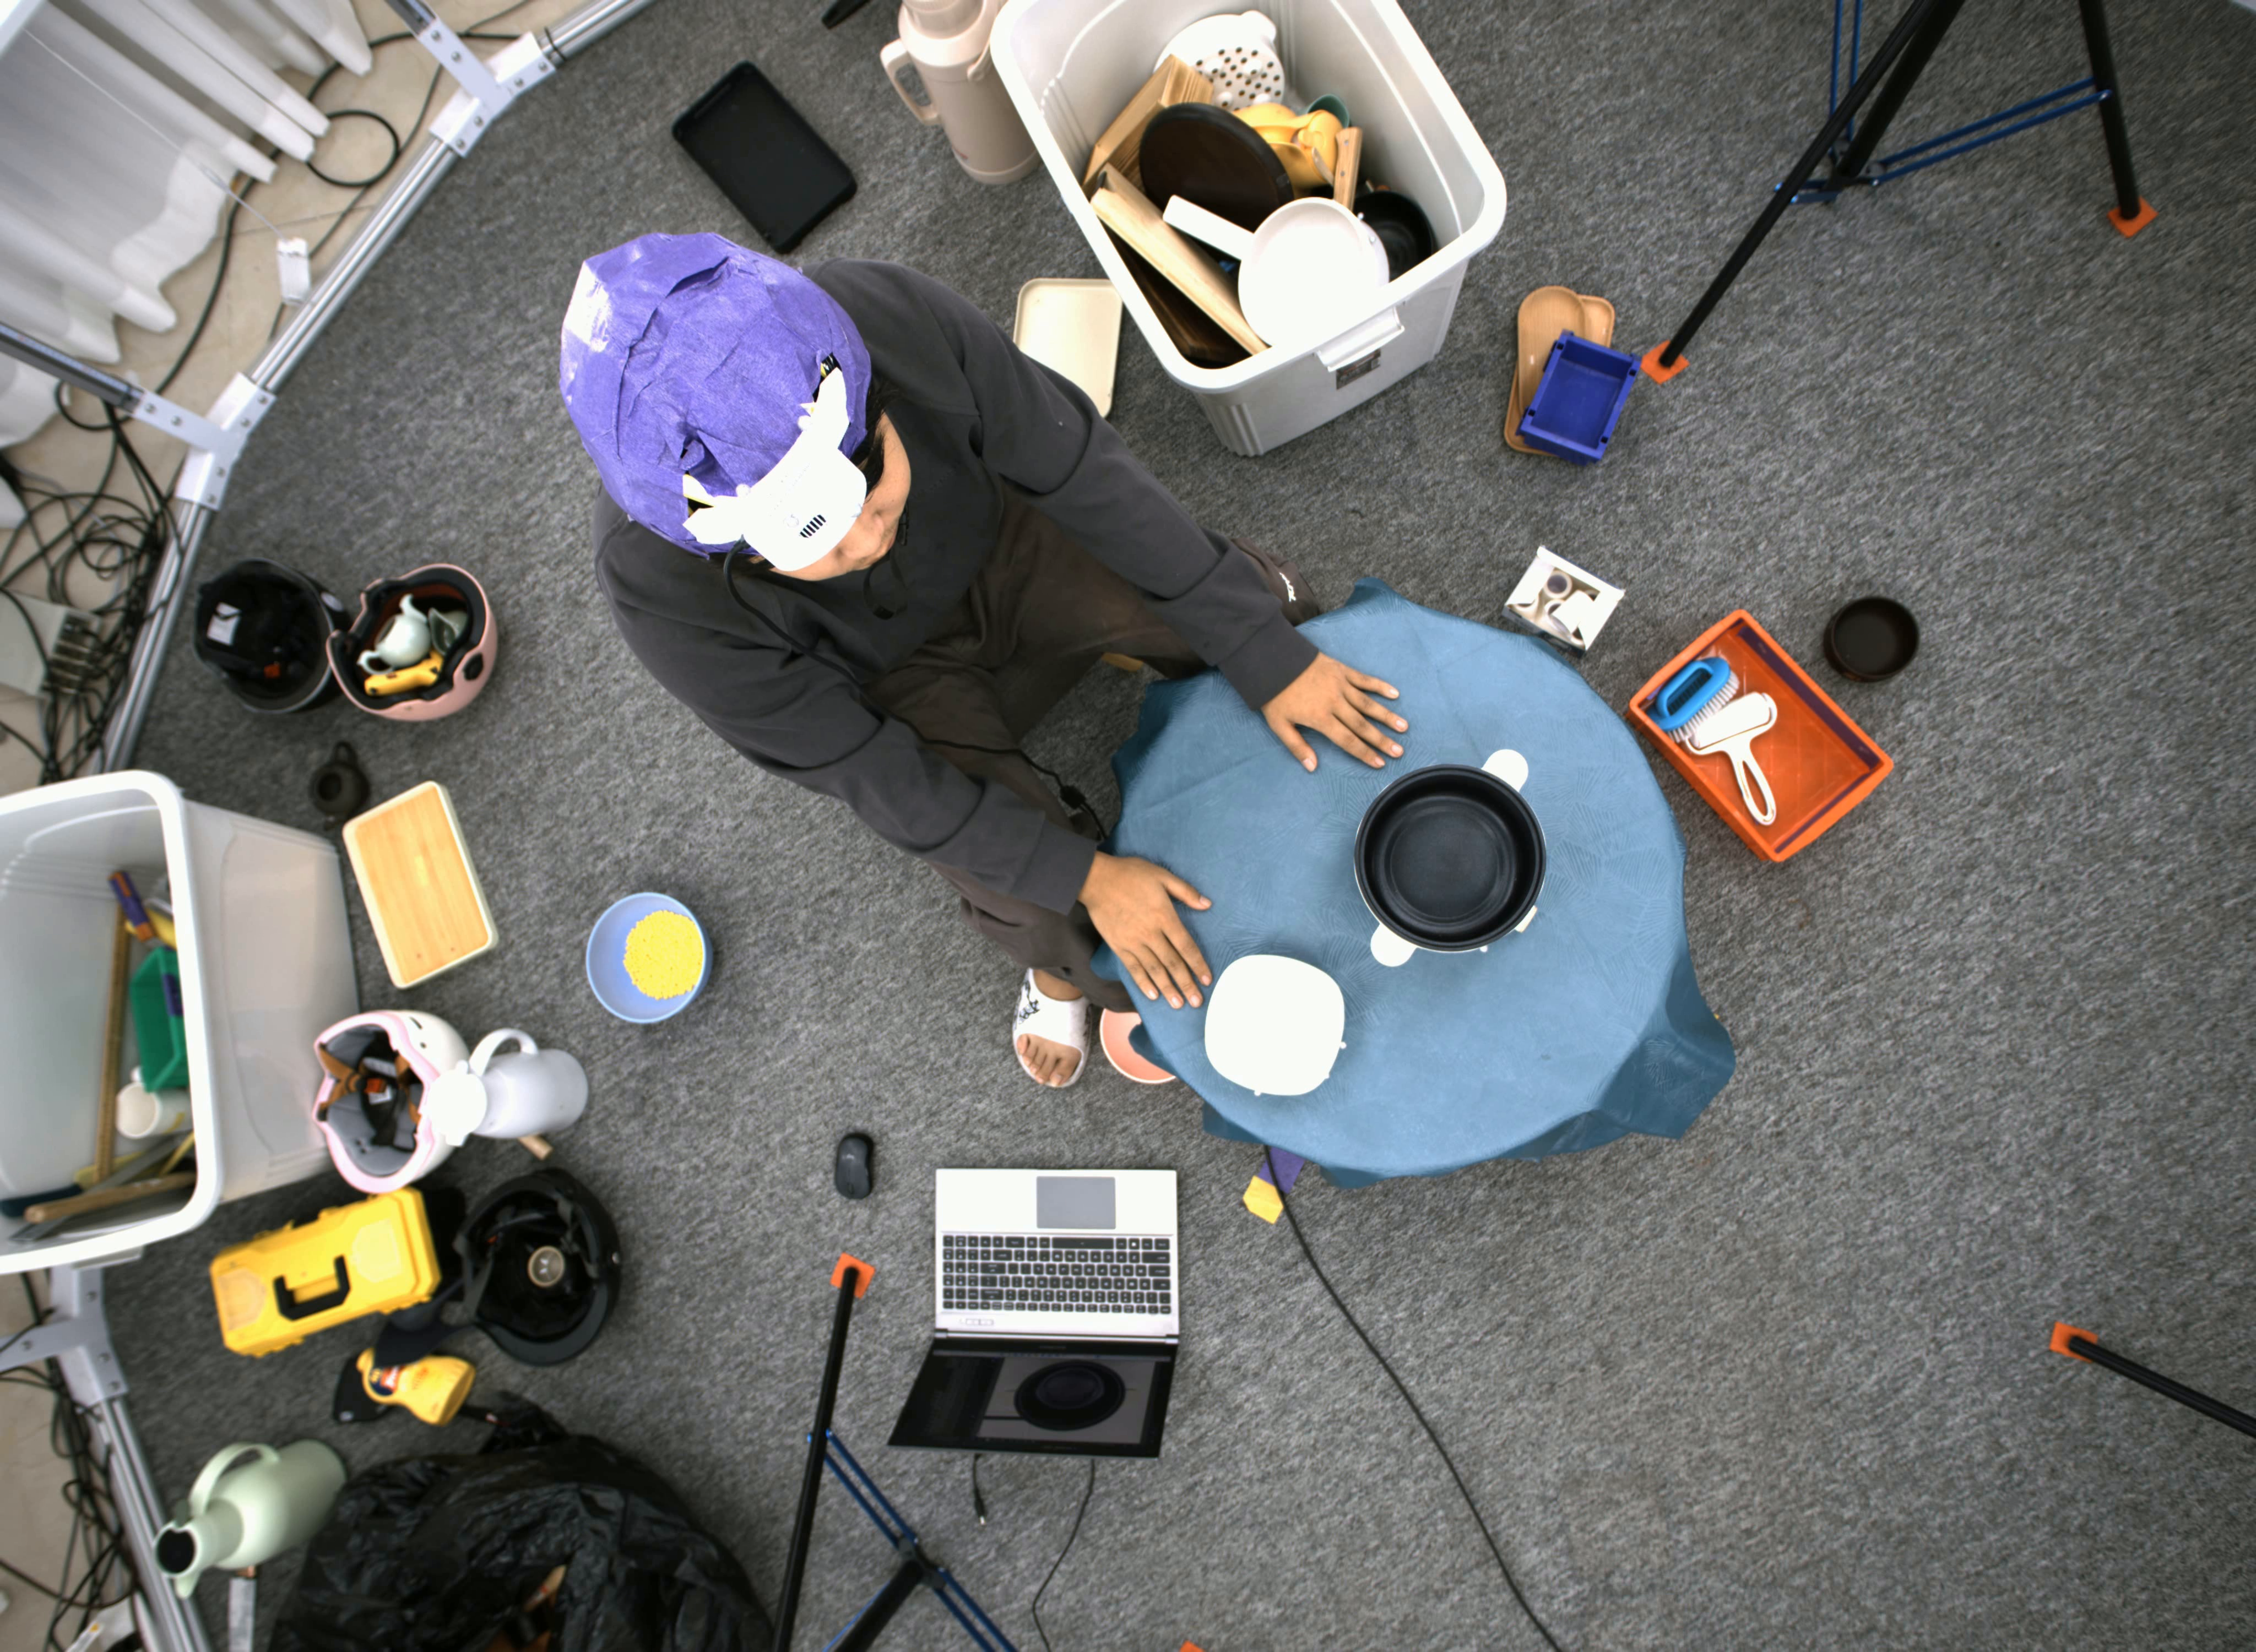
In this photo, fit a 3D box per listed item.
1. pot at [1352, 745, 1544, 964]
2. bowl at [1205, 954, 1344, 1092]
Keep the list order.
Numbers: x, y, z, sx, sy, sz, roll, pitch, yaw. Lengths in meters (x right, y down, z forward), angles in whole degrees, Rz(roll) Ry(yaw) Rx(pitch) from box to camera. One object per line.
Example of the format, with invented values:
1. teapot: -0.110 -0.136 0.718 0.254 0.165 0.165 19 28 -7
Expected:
1. pot: 0.324 0.034 1.381 0.190 0.142 0.241 32 94 15
2. bowl: 0.153 0.203 1.447 0.152 0.058 0.151 -1 87 9
